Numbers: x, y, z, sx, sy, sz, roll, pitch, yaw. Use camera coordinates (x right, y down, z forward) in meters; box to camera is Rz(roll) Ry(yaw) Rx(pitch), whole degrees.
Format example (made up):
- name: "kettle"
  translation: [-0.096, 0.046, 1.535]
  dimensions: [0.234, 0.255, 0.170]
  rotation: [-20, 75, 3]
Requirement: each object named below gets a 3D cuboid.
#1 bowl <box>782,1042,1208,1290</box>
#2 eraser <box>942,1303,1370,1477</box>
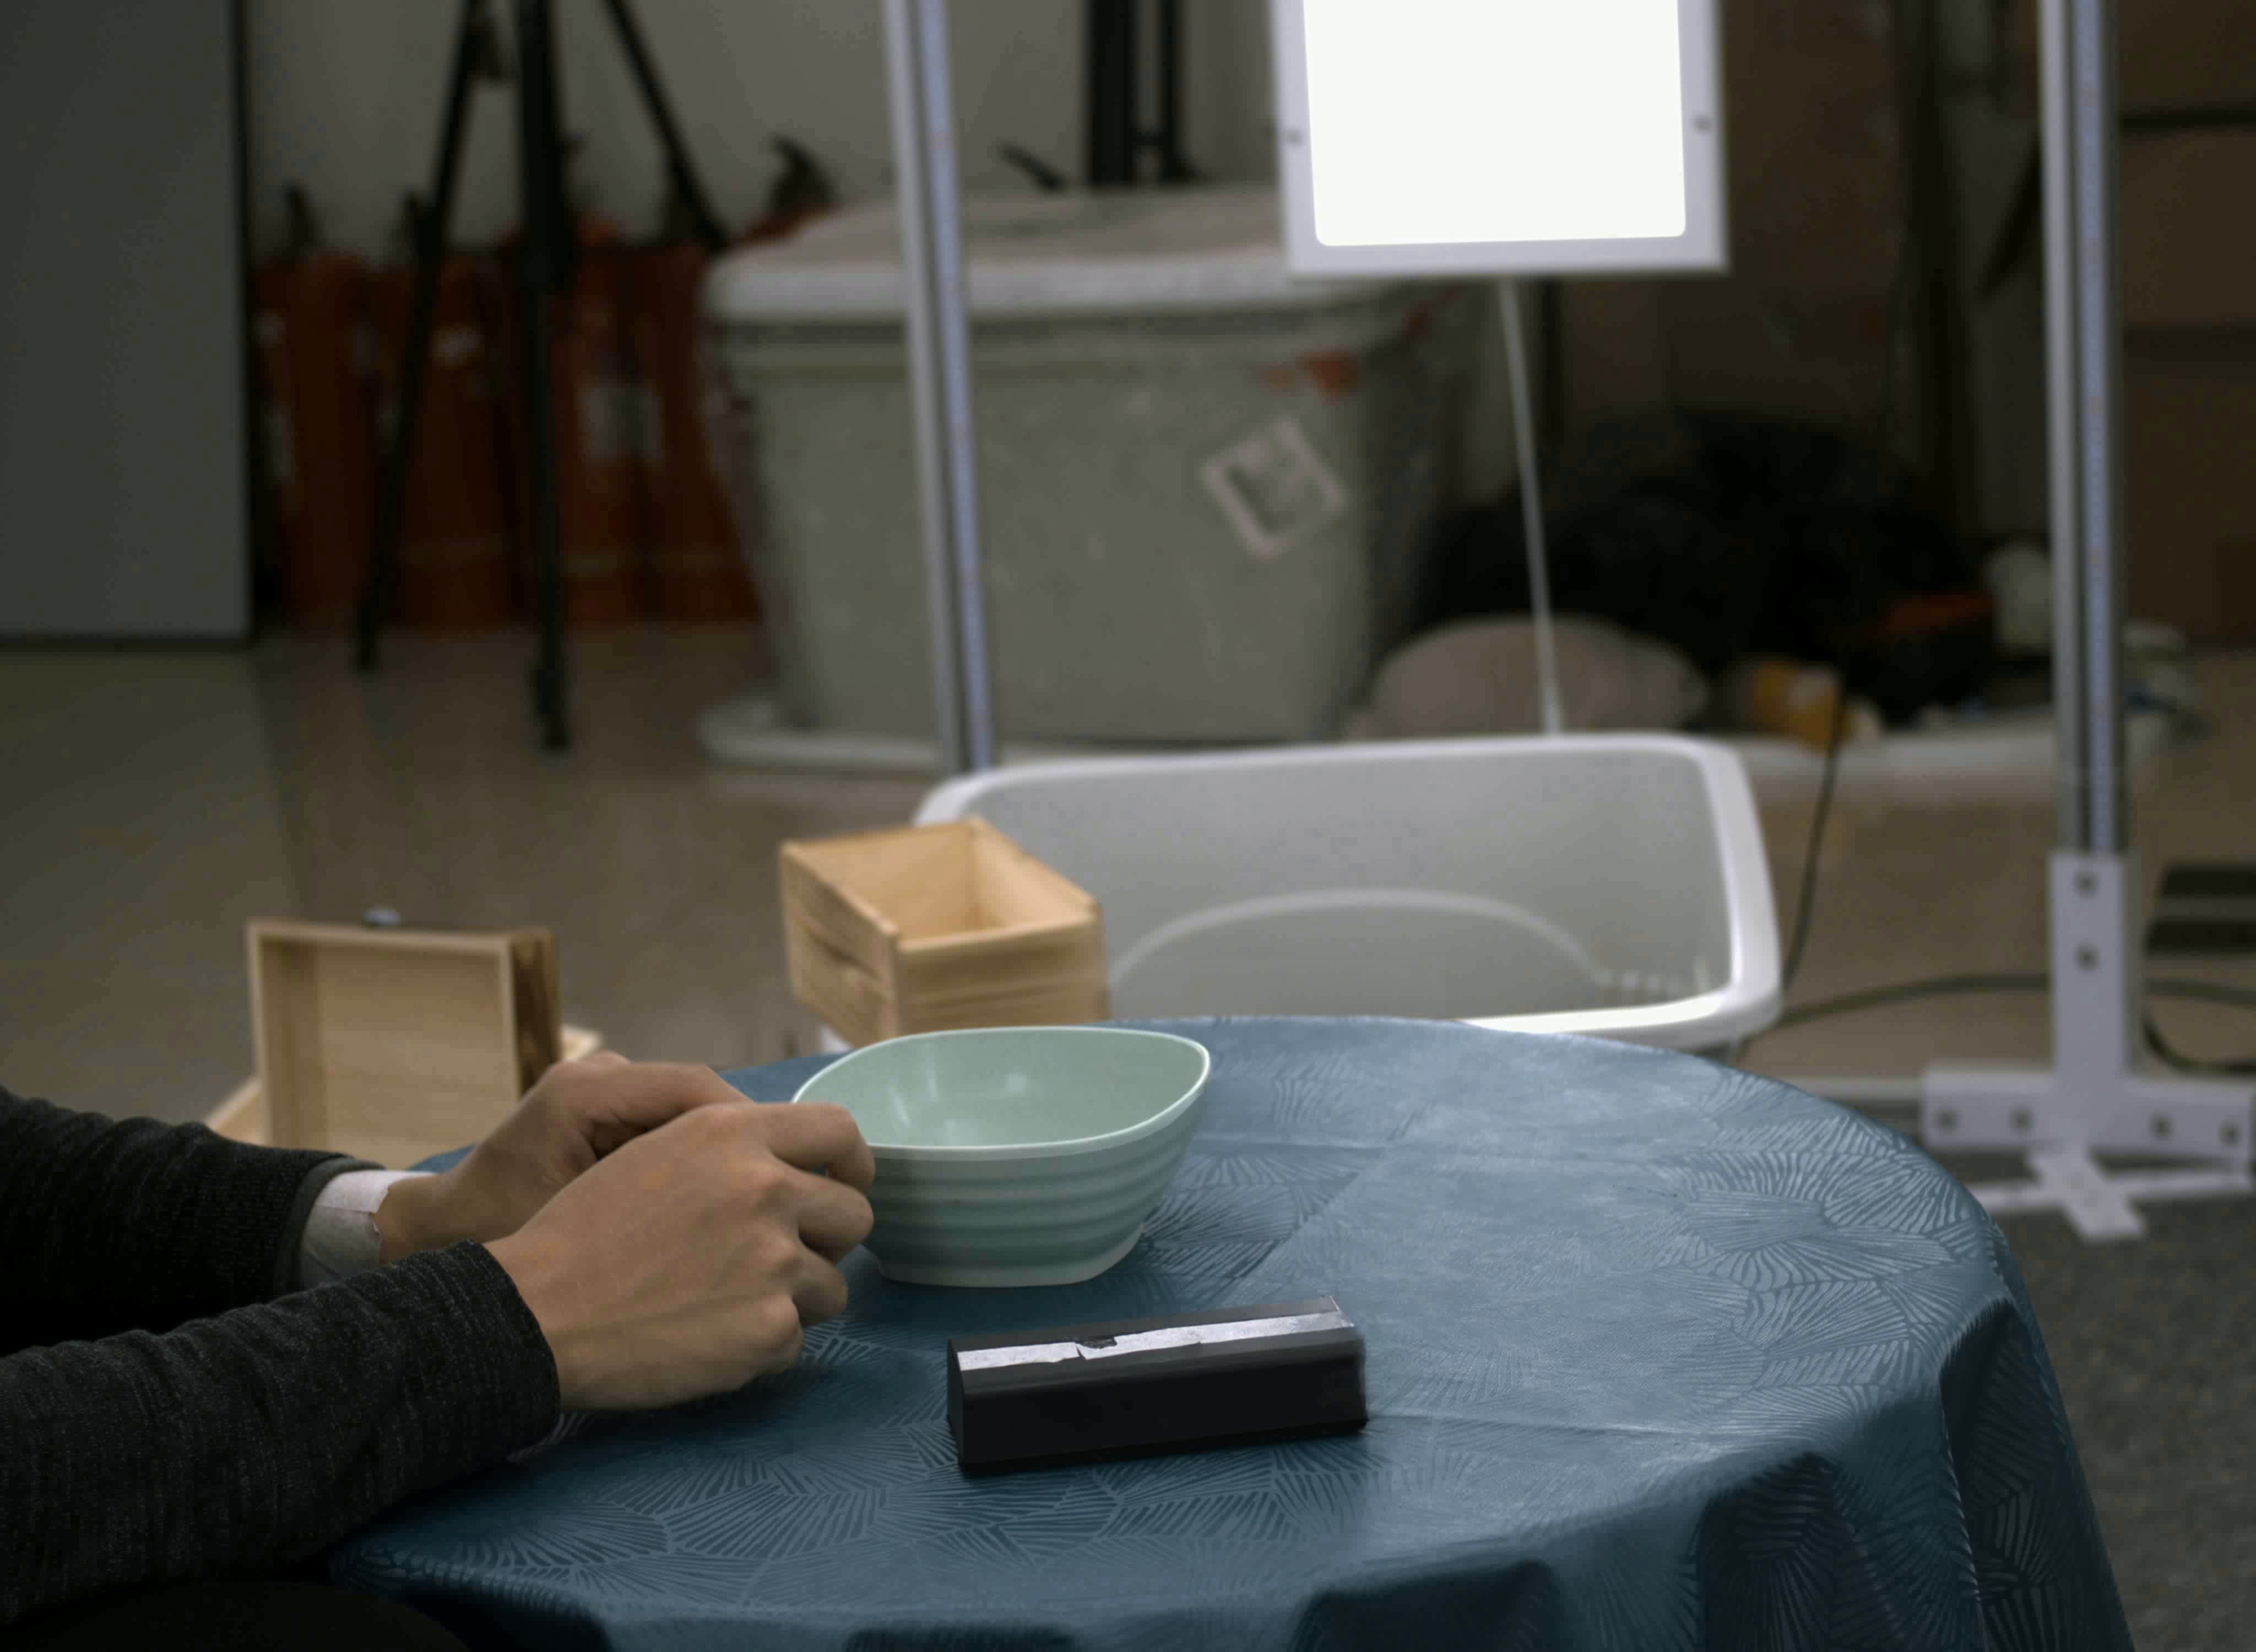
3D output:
- name: "bowl"
  translation: [-0.042, 0.116, 1.842]
  dimensions: [0.151, 0.059, 0.151]
  rotation: [-4, 11, 0]
- name: "eraser"
  translation: [0.009, 0.169, 1.661]
  dimensions: [0.124, 0.030, 0.053]
  rotation: [-7, 11, -5]
